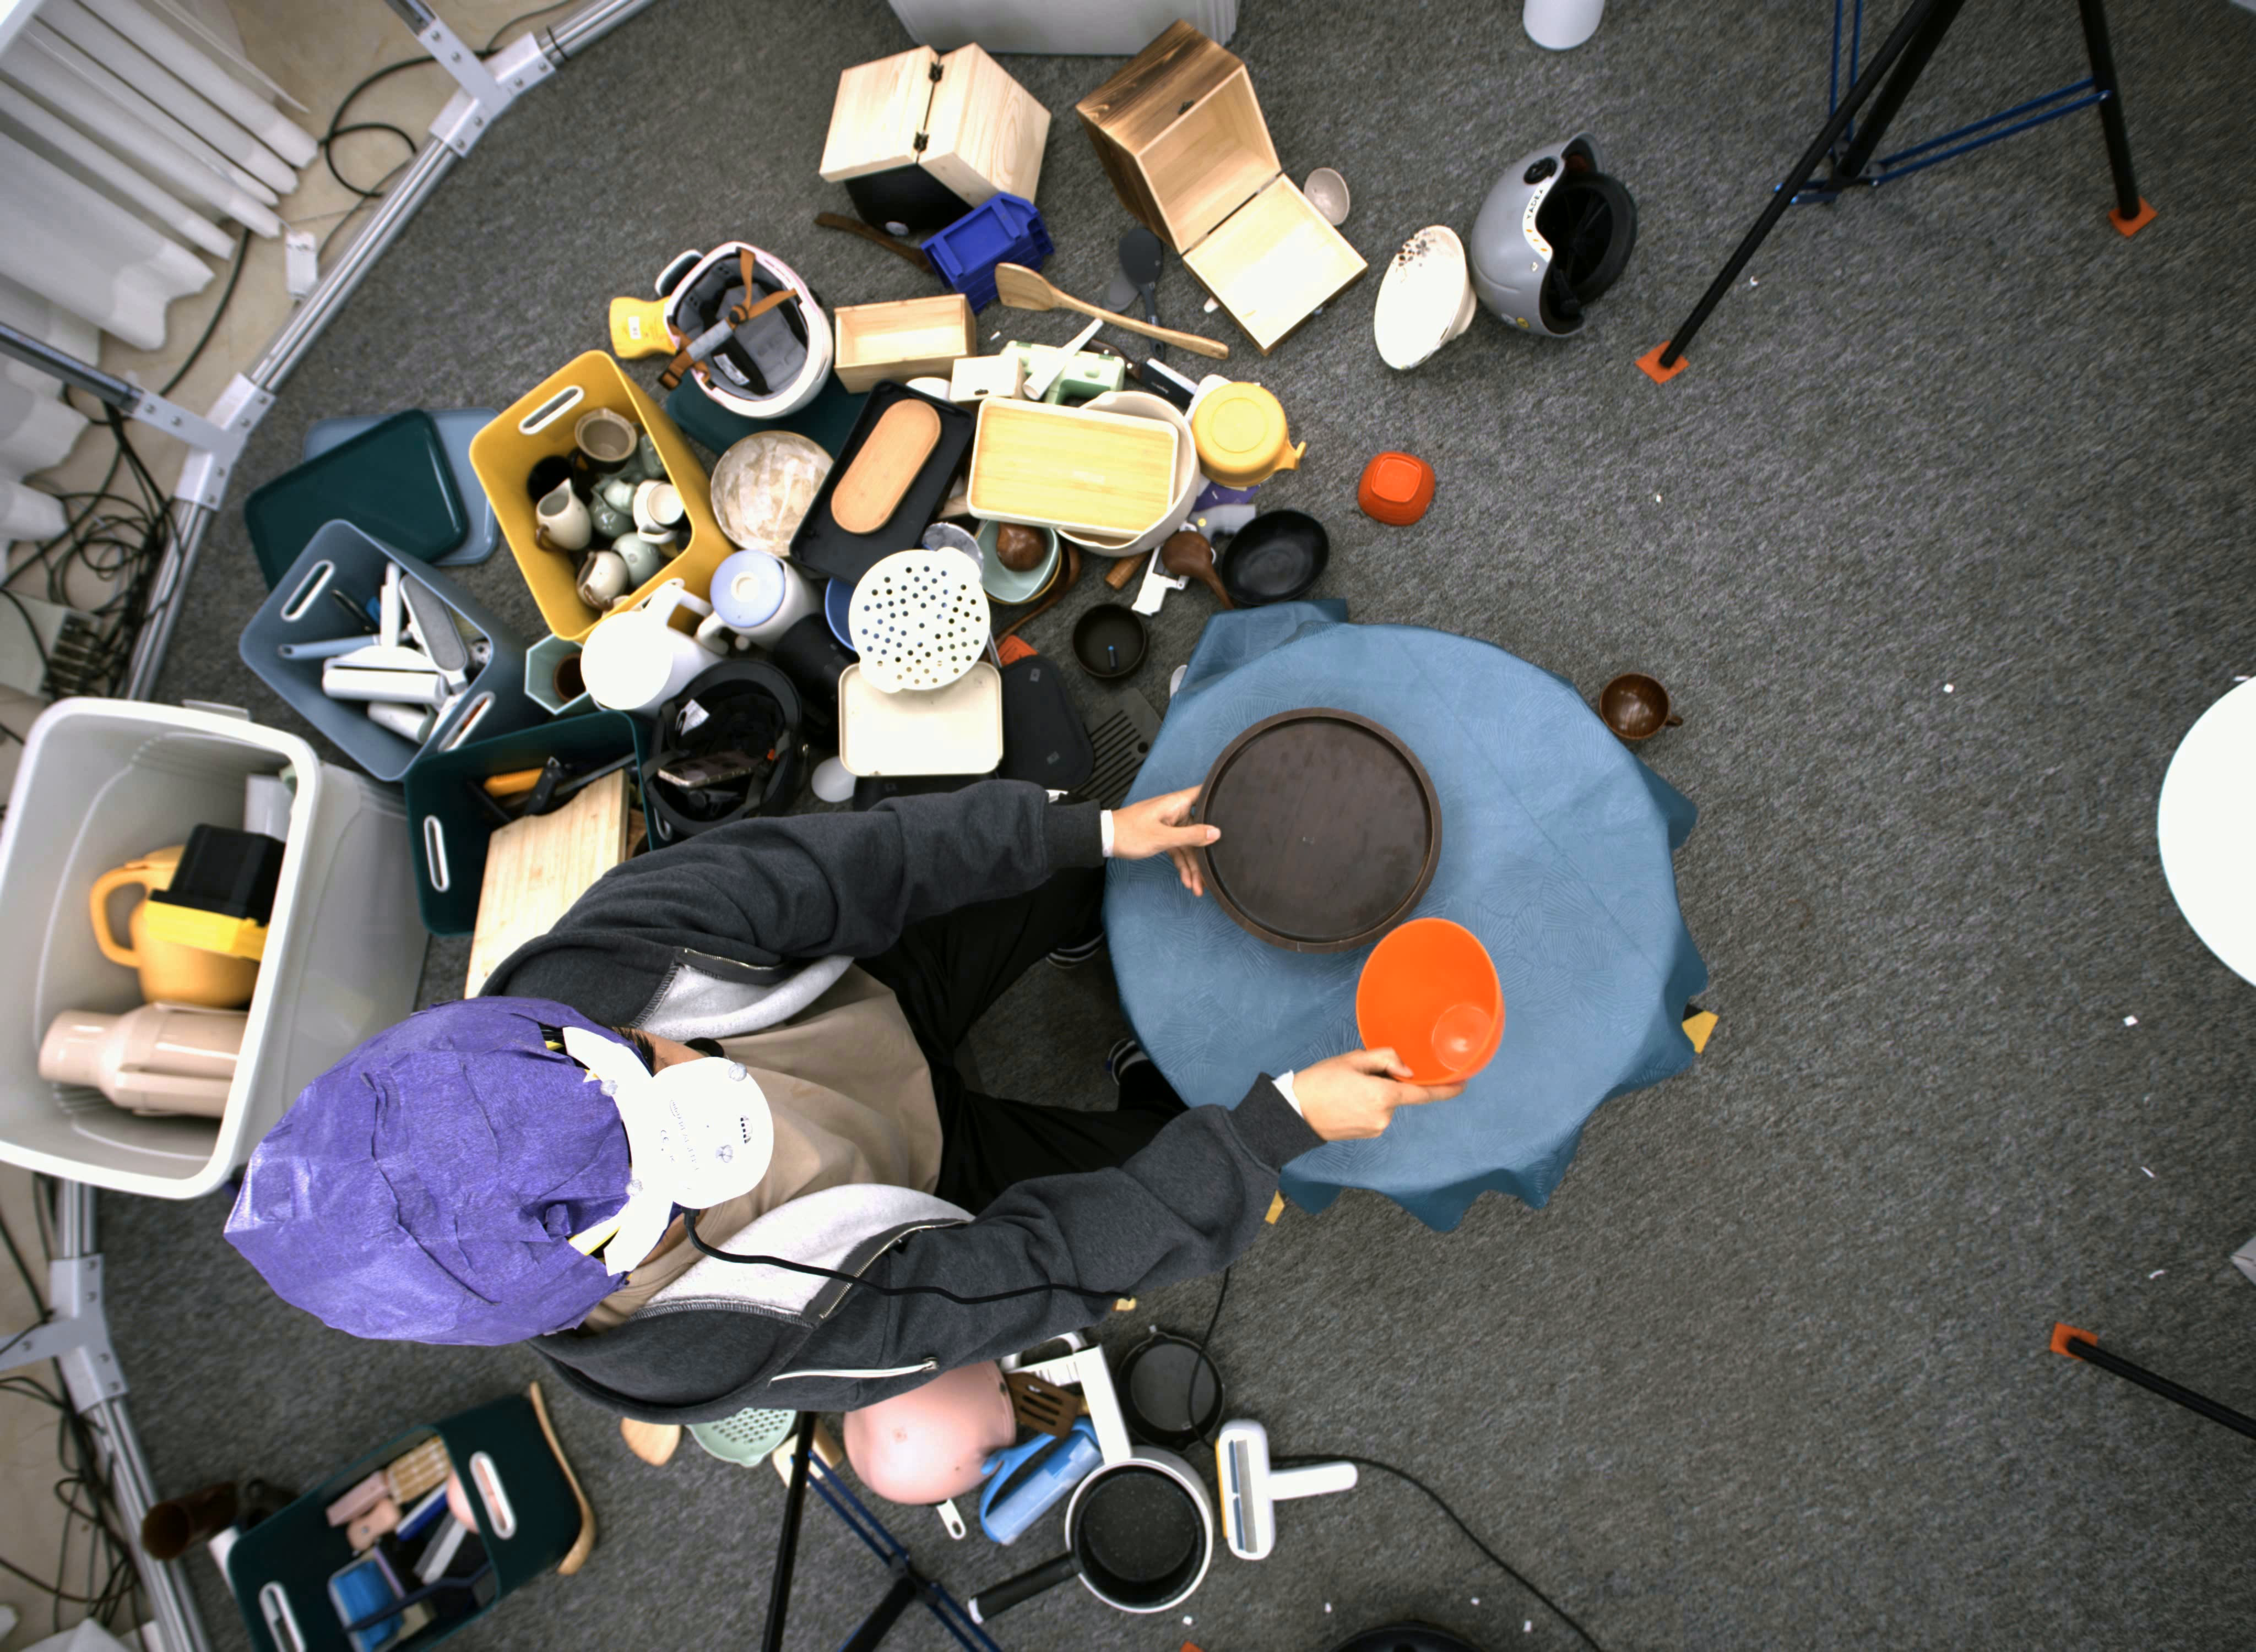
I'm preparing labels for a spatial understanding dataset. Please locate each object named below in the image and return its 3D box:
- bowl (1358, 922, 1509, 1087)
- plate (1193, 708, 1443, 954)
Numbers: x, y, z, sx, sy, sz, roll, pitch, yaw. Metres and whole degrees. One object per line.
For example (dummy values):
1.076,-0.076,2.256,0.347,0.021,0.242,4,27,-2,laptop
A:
0.294,0.173,1.268,0.150,0.105,0.145,-18,59,33,bowl
0.193,0.004,1.412,0.255,0.029,0.254,0,88,5,plate
